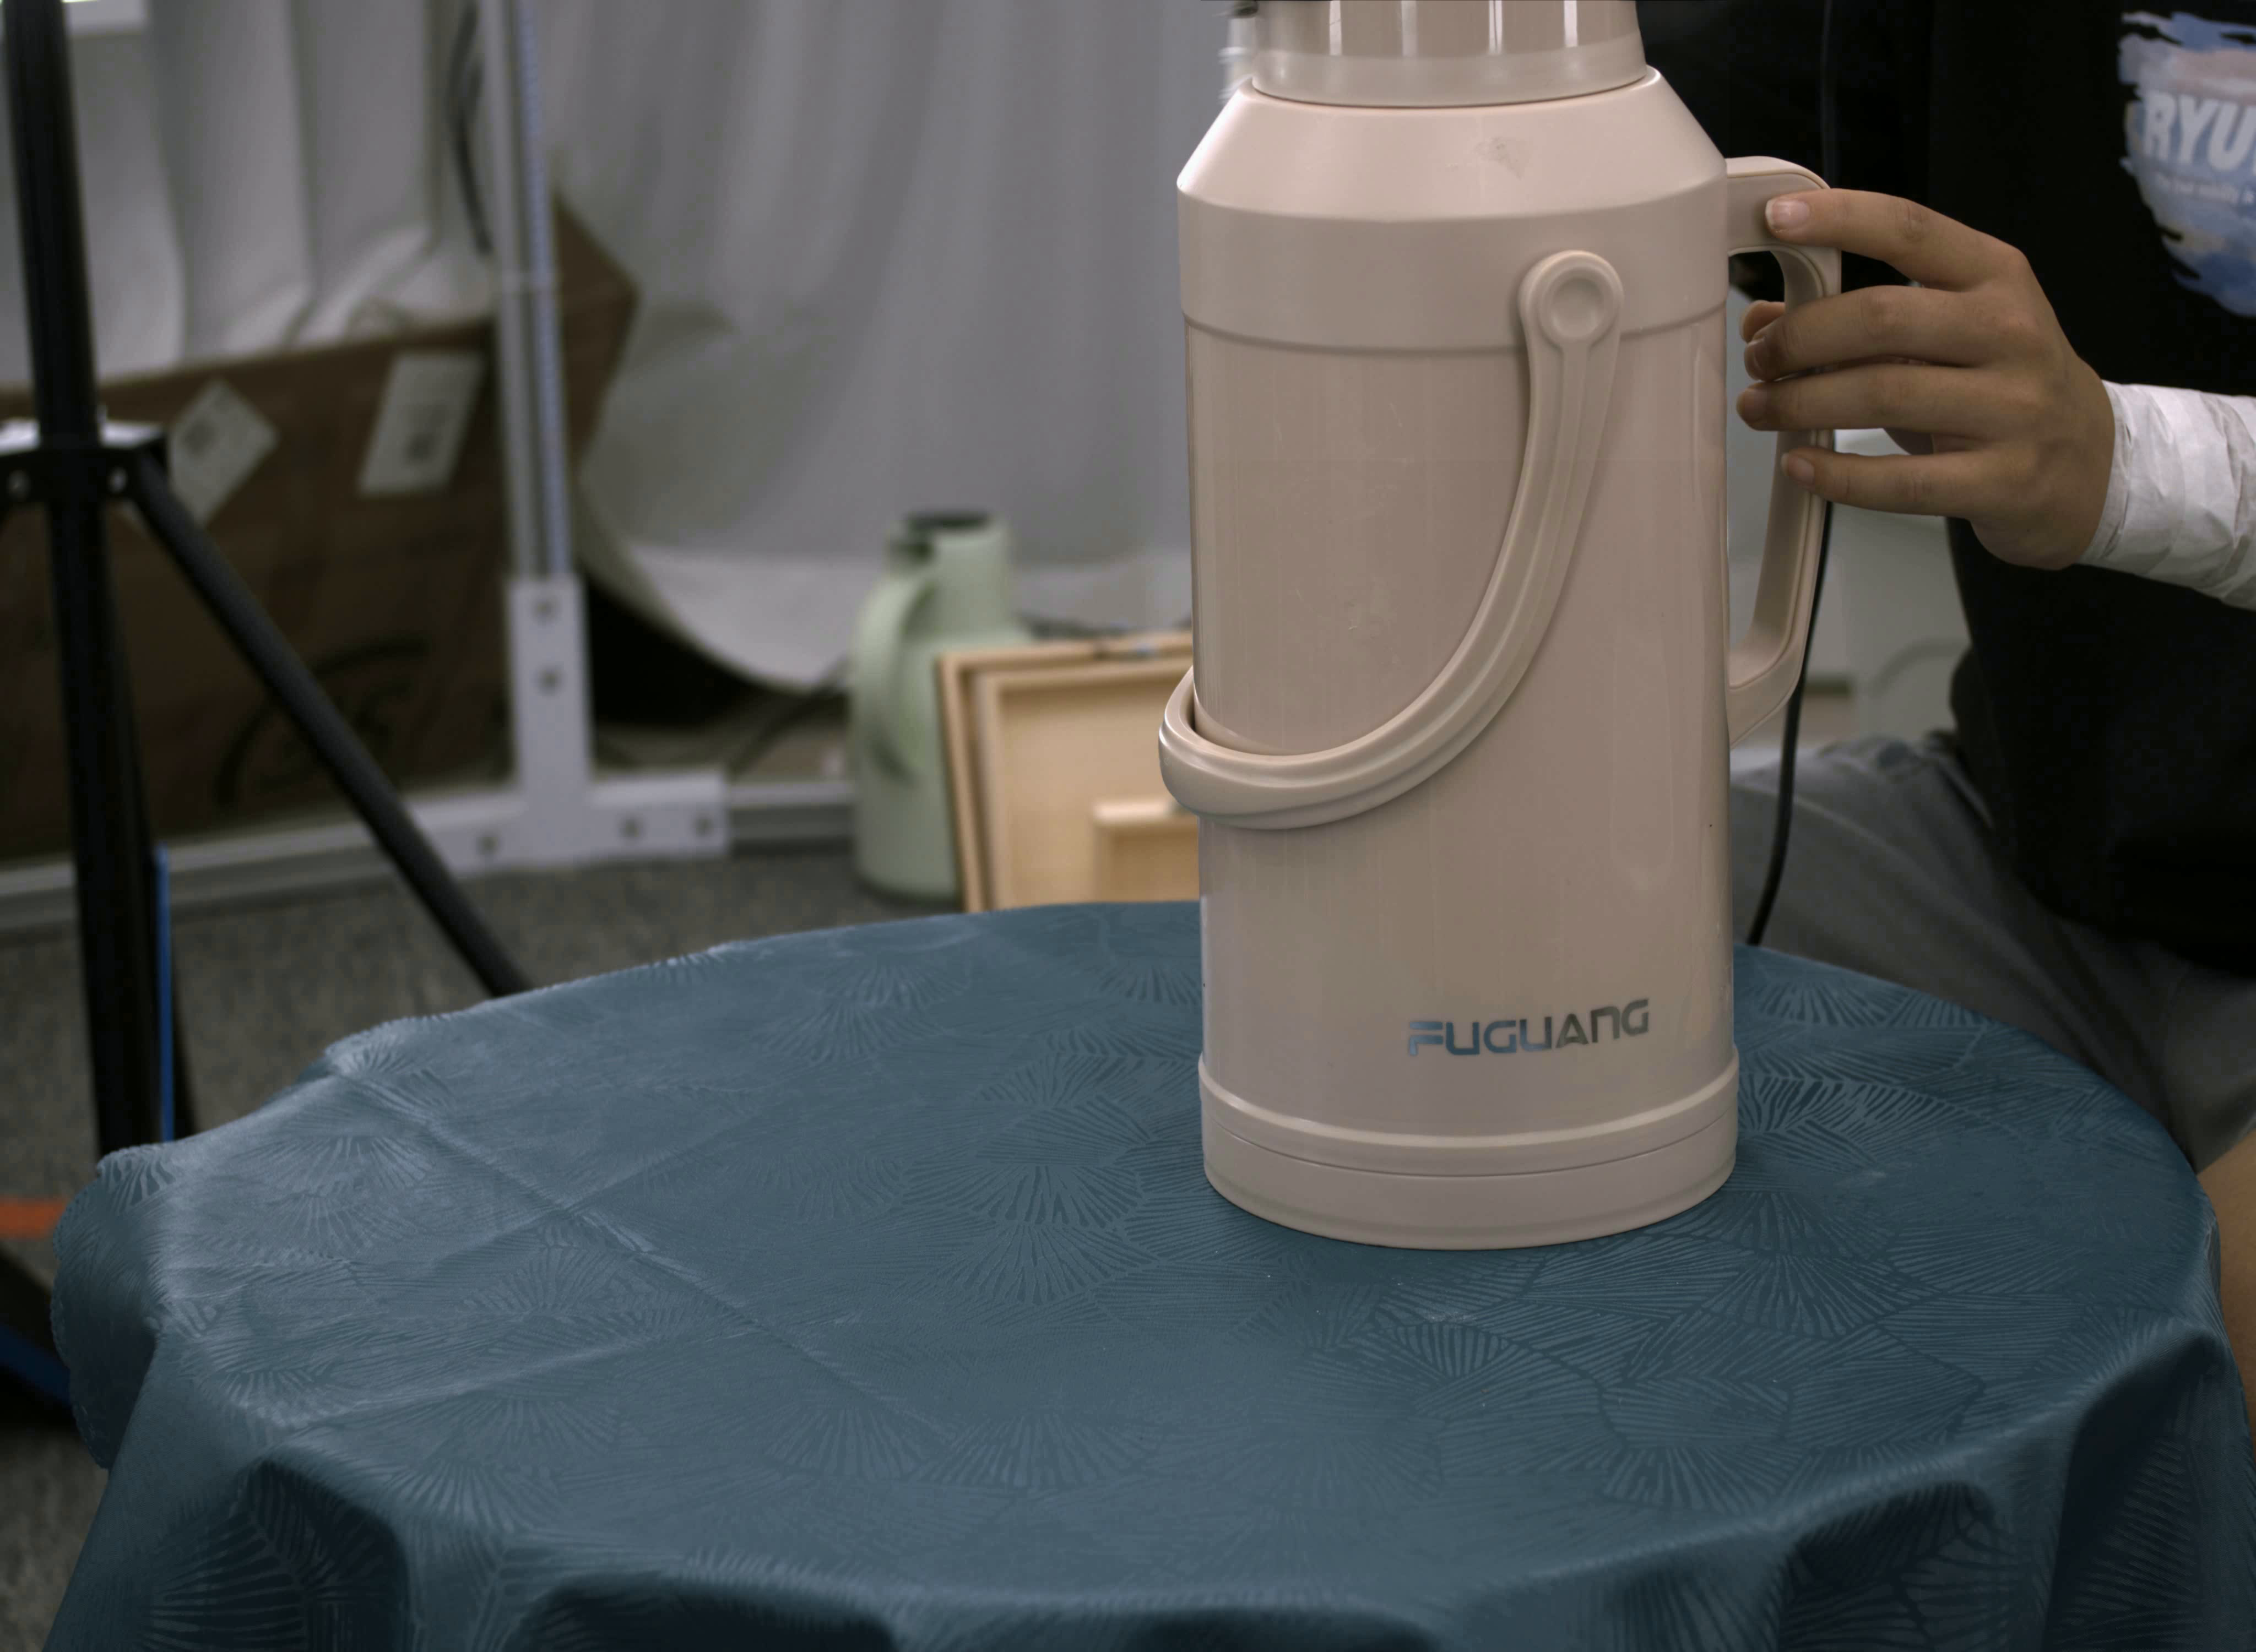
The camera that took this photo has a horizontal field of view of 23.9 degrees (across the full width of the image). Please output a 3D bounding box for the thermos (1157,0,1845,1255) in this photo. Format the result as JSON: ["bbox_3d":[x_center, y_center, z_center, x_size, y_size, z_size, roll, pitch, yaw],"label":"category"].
[{"bbox_3d":[0.109,-0.092,1.526,0.203,0.406,0.178,-6,14,-17],"label":"thermos"}]

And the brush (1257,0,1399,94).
[{"bbox_3d":[0.068,-0.210,1.636,0.061,0.174,0.095,-10,34,5],"label":"brush"}]
